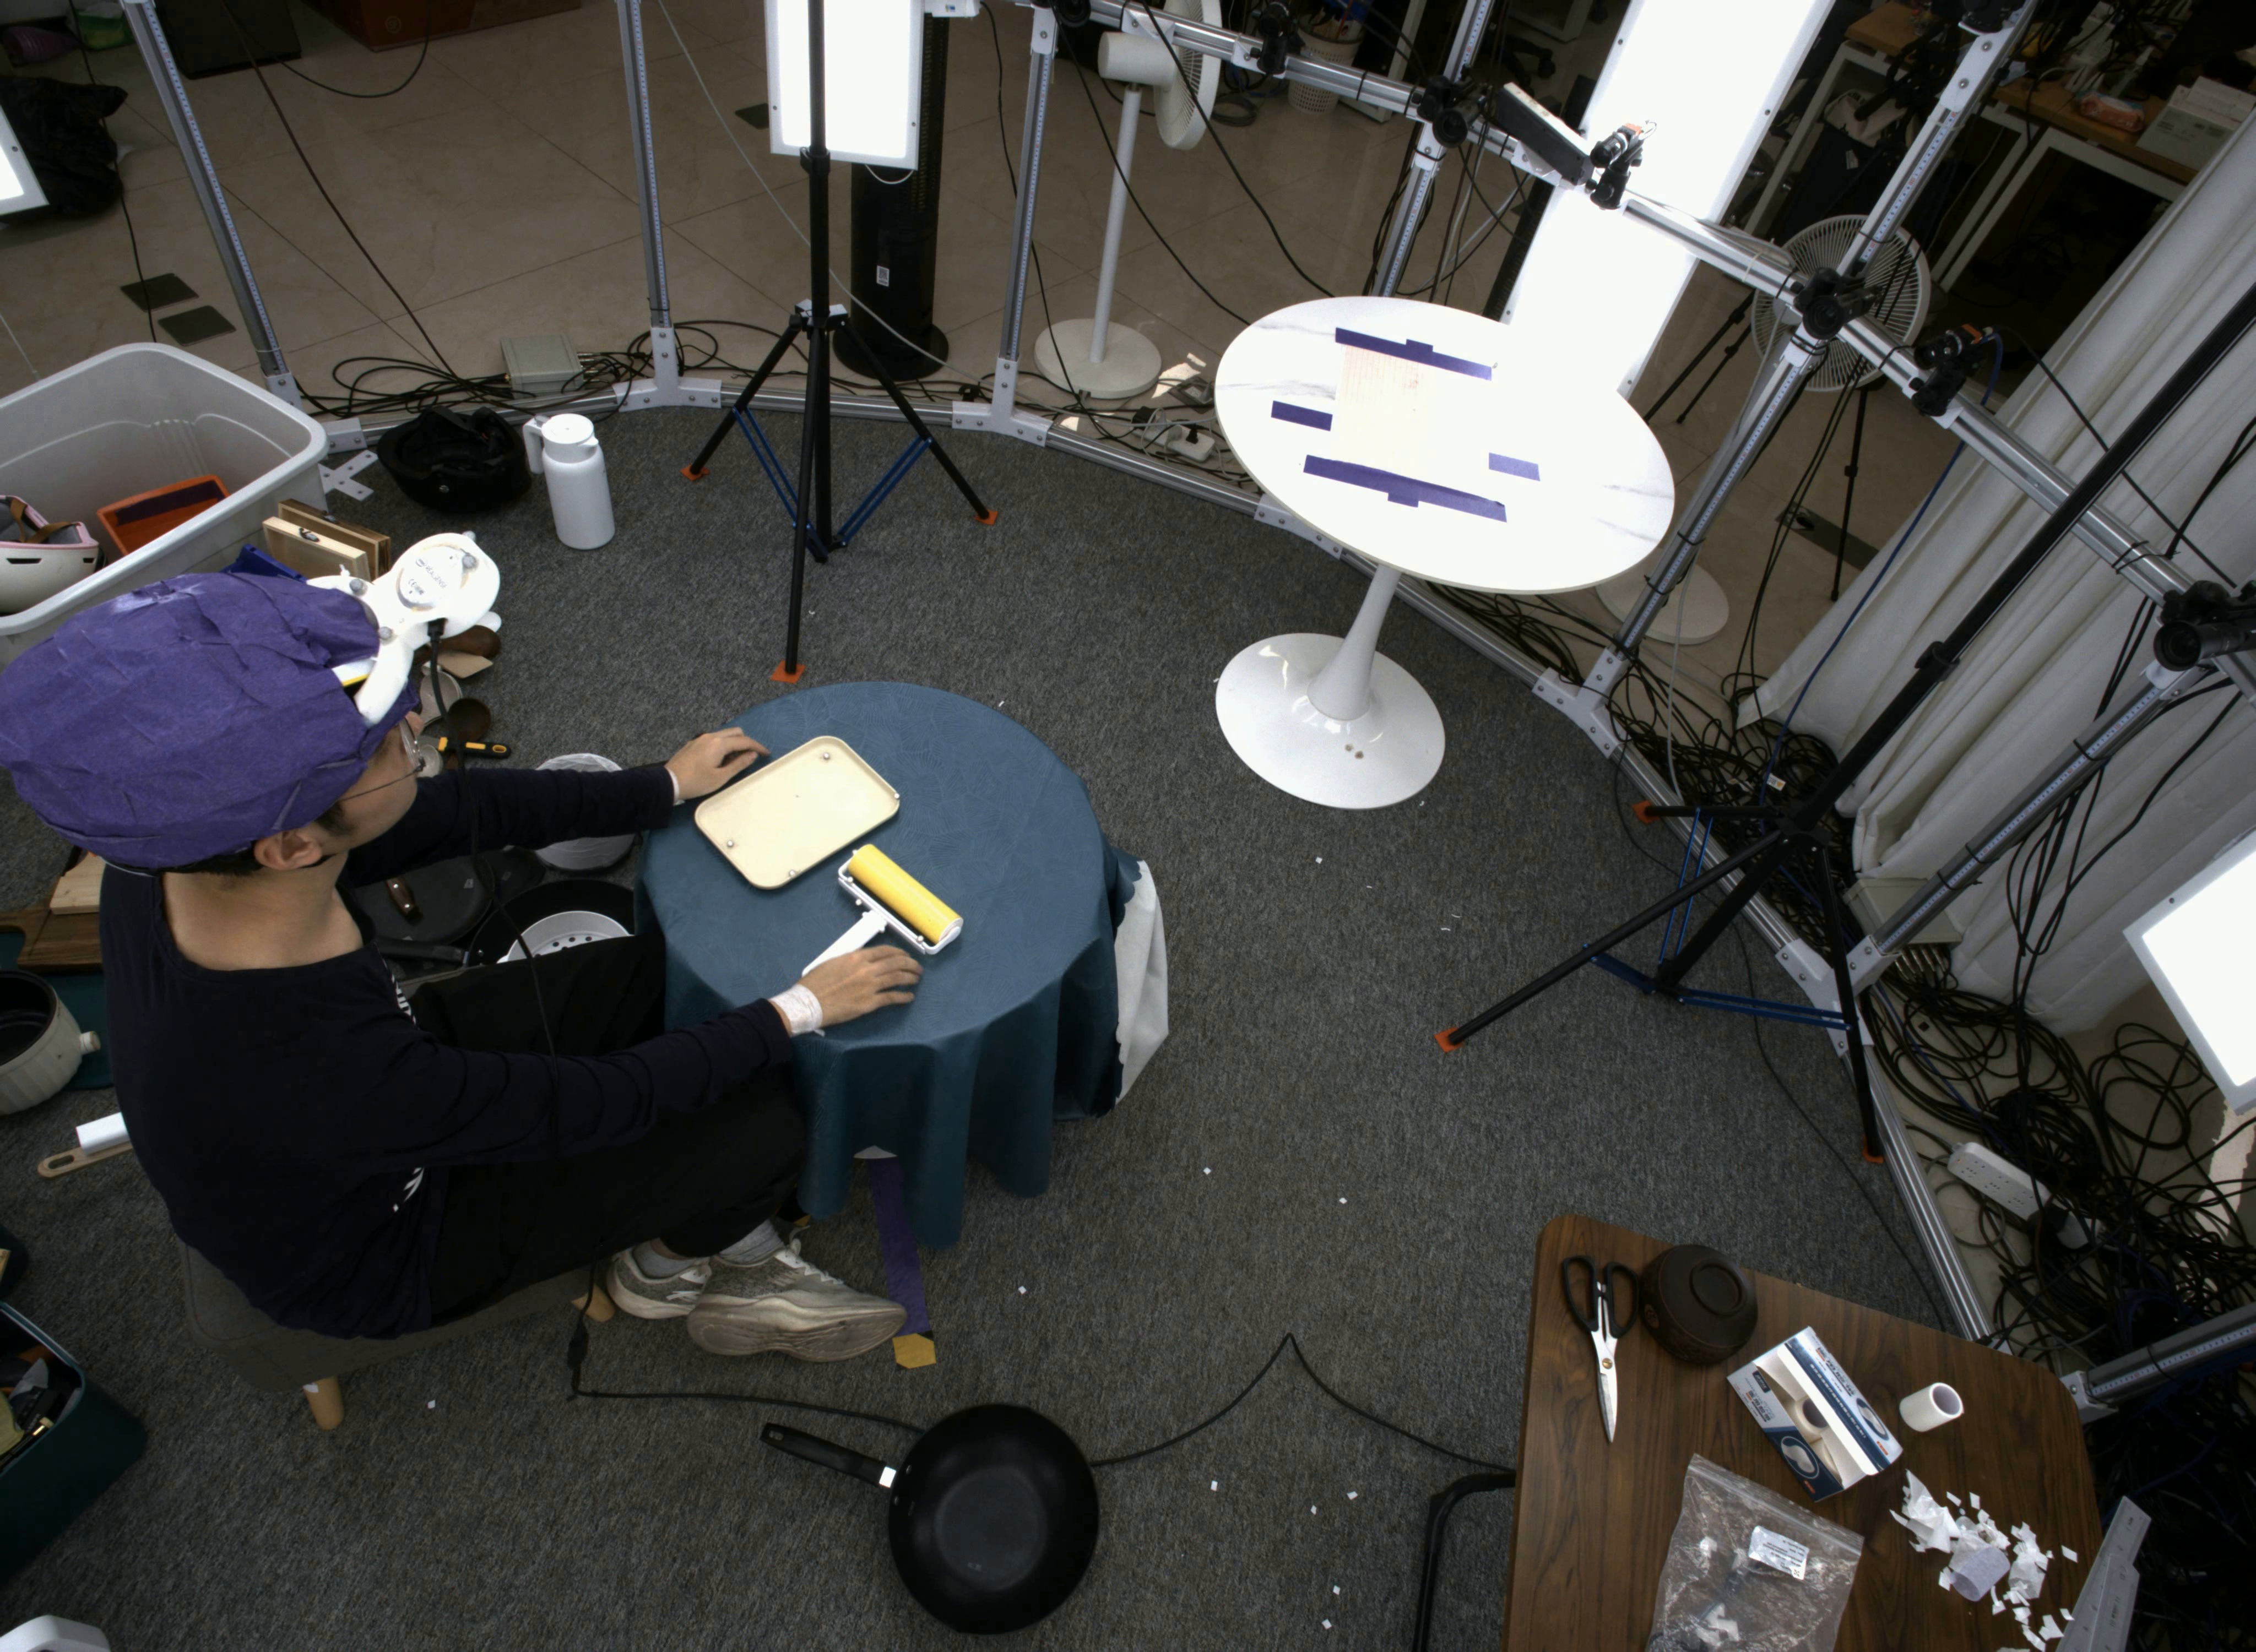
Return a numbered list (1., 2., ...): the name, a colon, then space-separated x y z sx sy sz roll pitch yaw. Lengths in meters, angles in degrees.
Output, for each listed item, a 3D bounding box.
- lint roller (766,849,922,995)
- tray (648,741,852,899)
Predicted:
1. lint roller: -0.379 0.132 1.616 0.171 0.052 0.192 33 50 13
2. tray: -0.499 -0.011 1.713 0.167 0.018 0.240 39 55 16
